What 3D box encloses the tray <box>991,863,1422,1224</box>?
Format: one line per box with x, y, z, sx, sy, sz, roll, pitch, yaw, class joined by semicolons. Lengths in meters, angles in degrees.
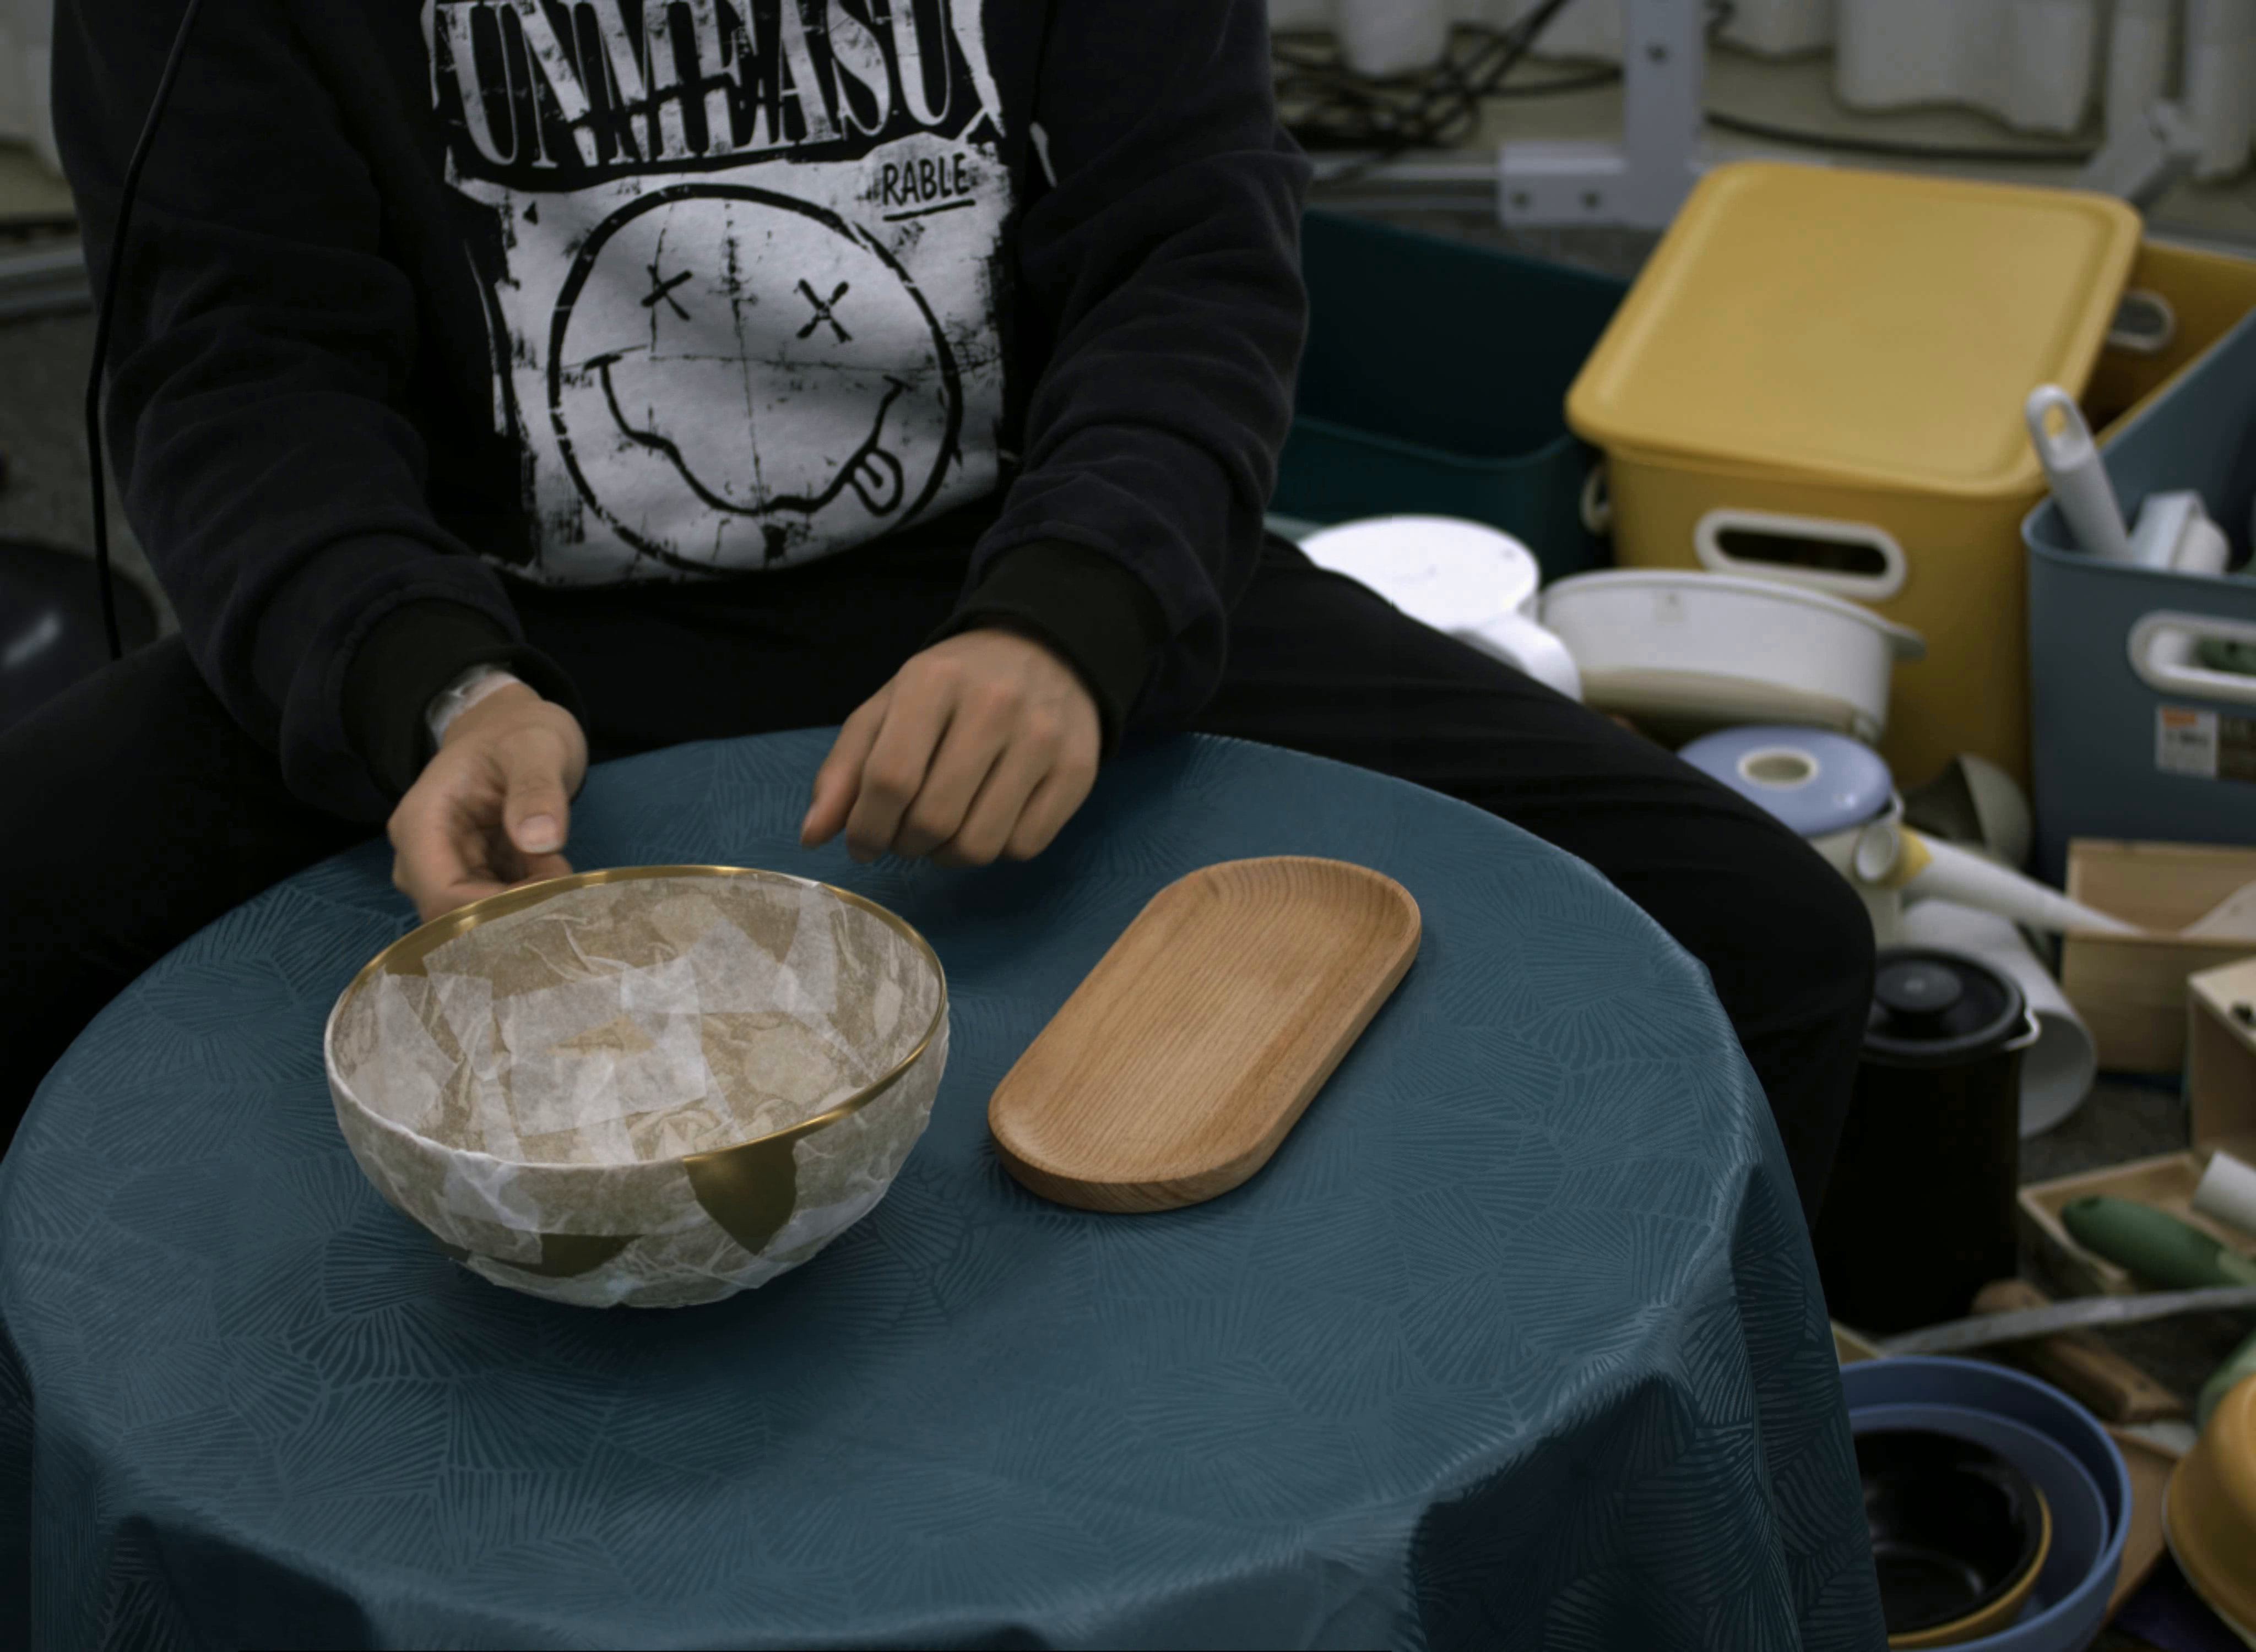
0.029;0.073;1.937;0.101;0.020;0.235;6;30;21;tray

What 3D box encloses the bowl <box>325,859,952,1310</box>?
-0.151;0.096;1.825;0.213;0.093;0.218;-3;26;2;bowl
